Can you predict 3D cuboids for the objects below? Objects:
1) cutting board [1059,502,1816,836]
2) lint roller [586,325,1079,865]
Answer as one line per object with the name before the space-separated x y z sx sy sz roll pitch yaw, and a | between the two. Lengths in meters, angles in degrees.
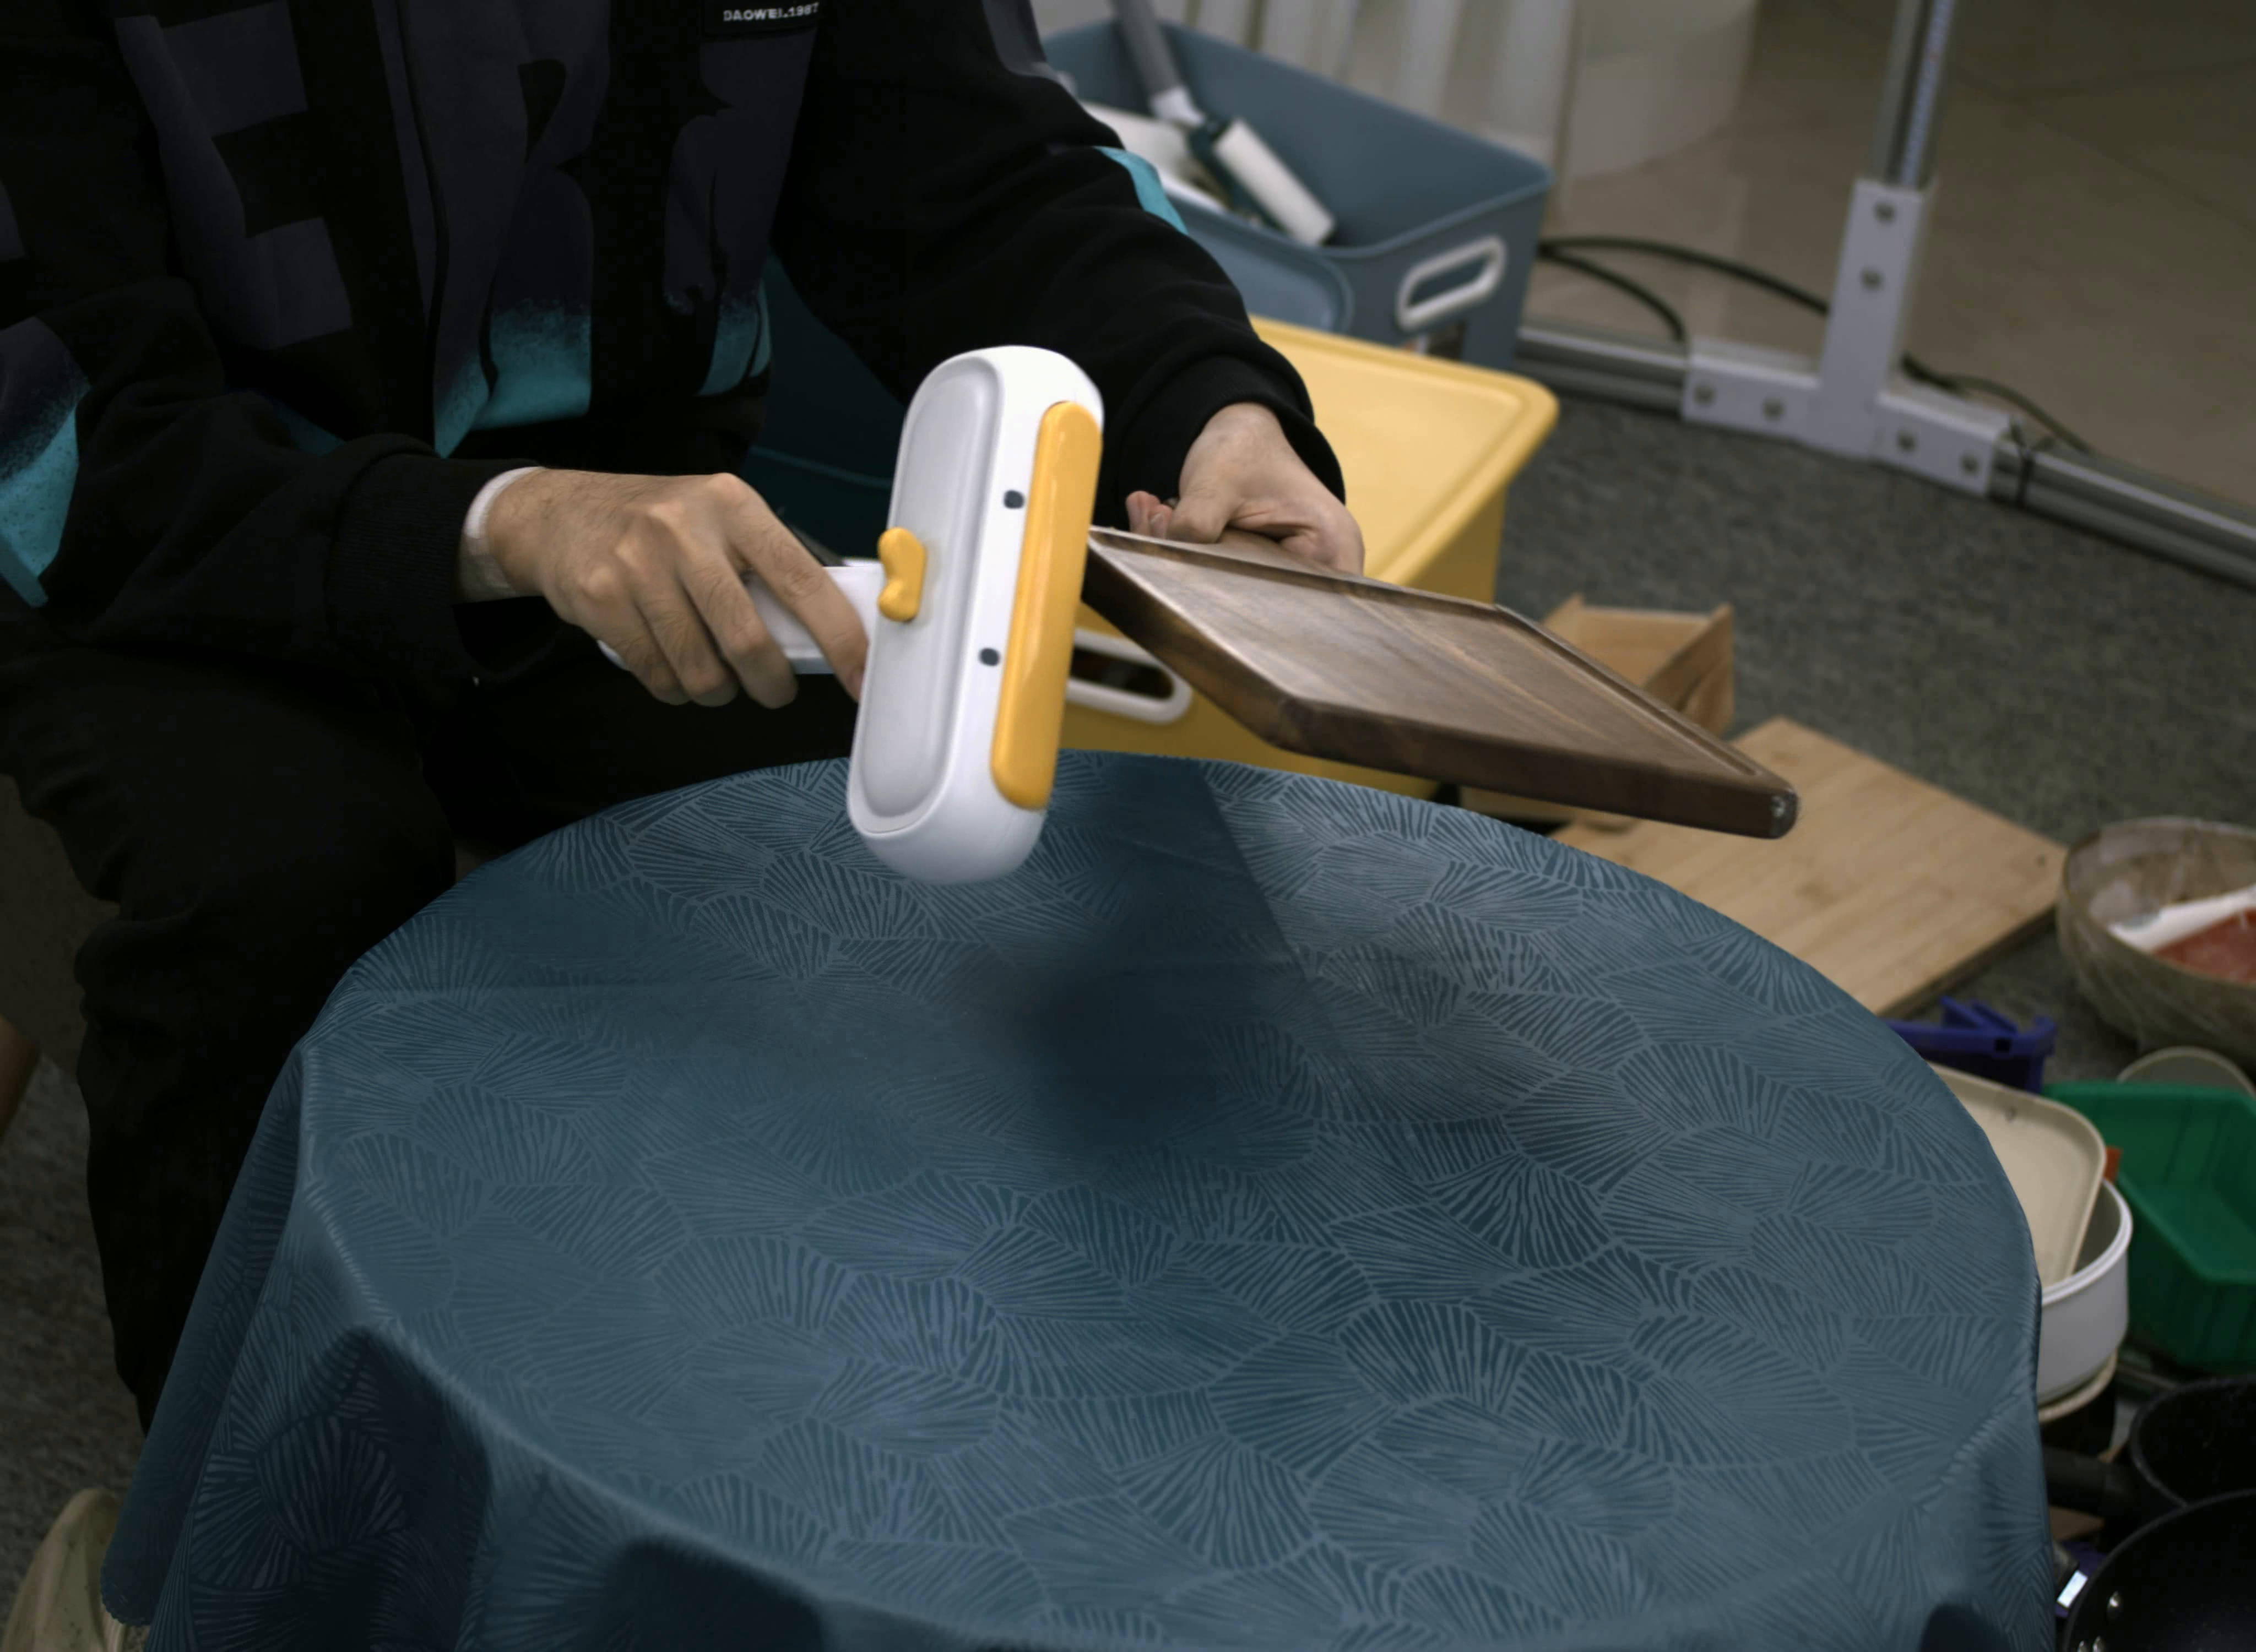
cutting board | 0.082 -0.066 1.900 0.199 0.023 0.354 10 12 -24
lint roller | -0.105 -0.074 1.872 0.193 0.194 0.073 -11 -21 38
